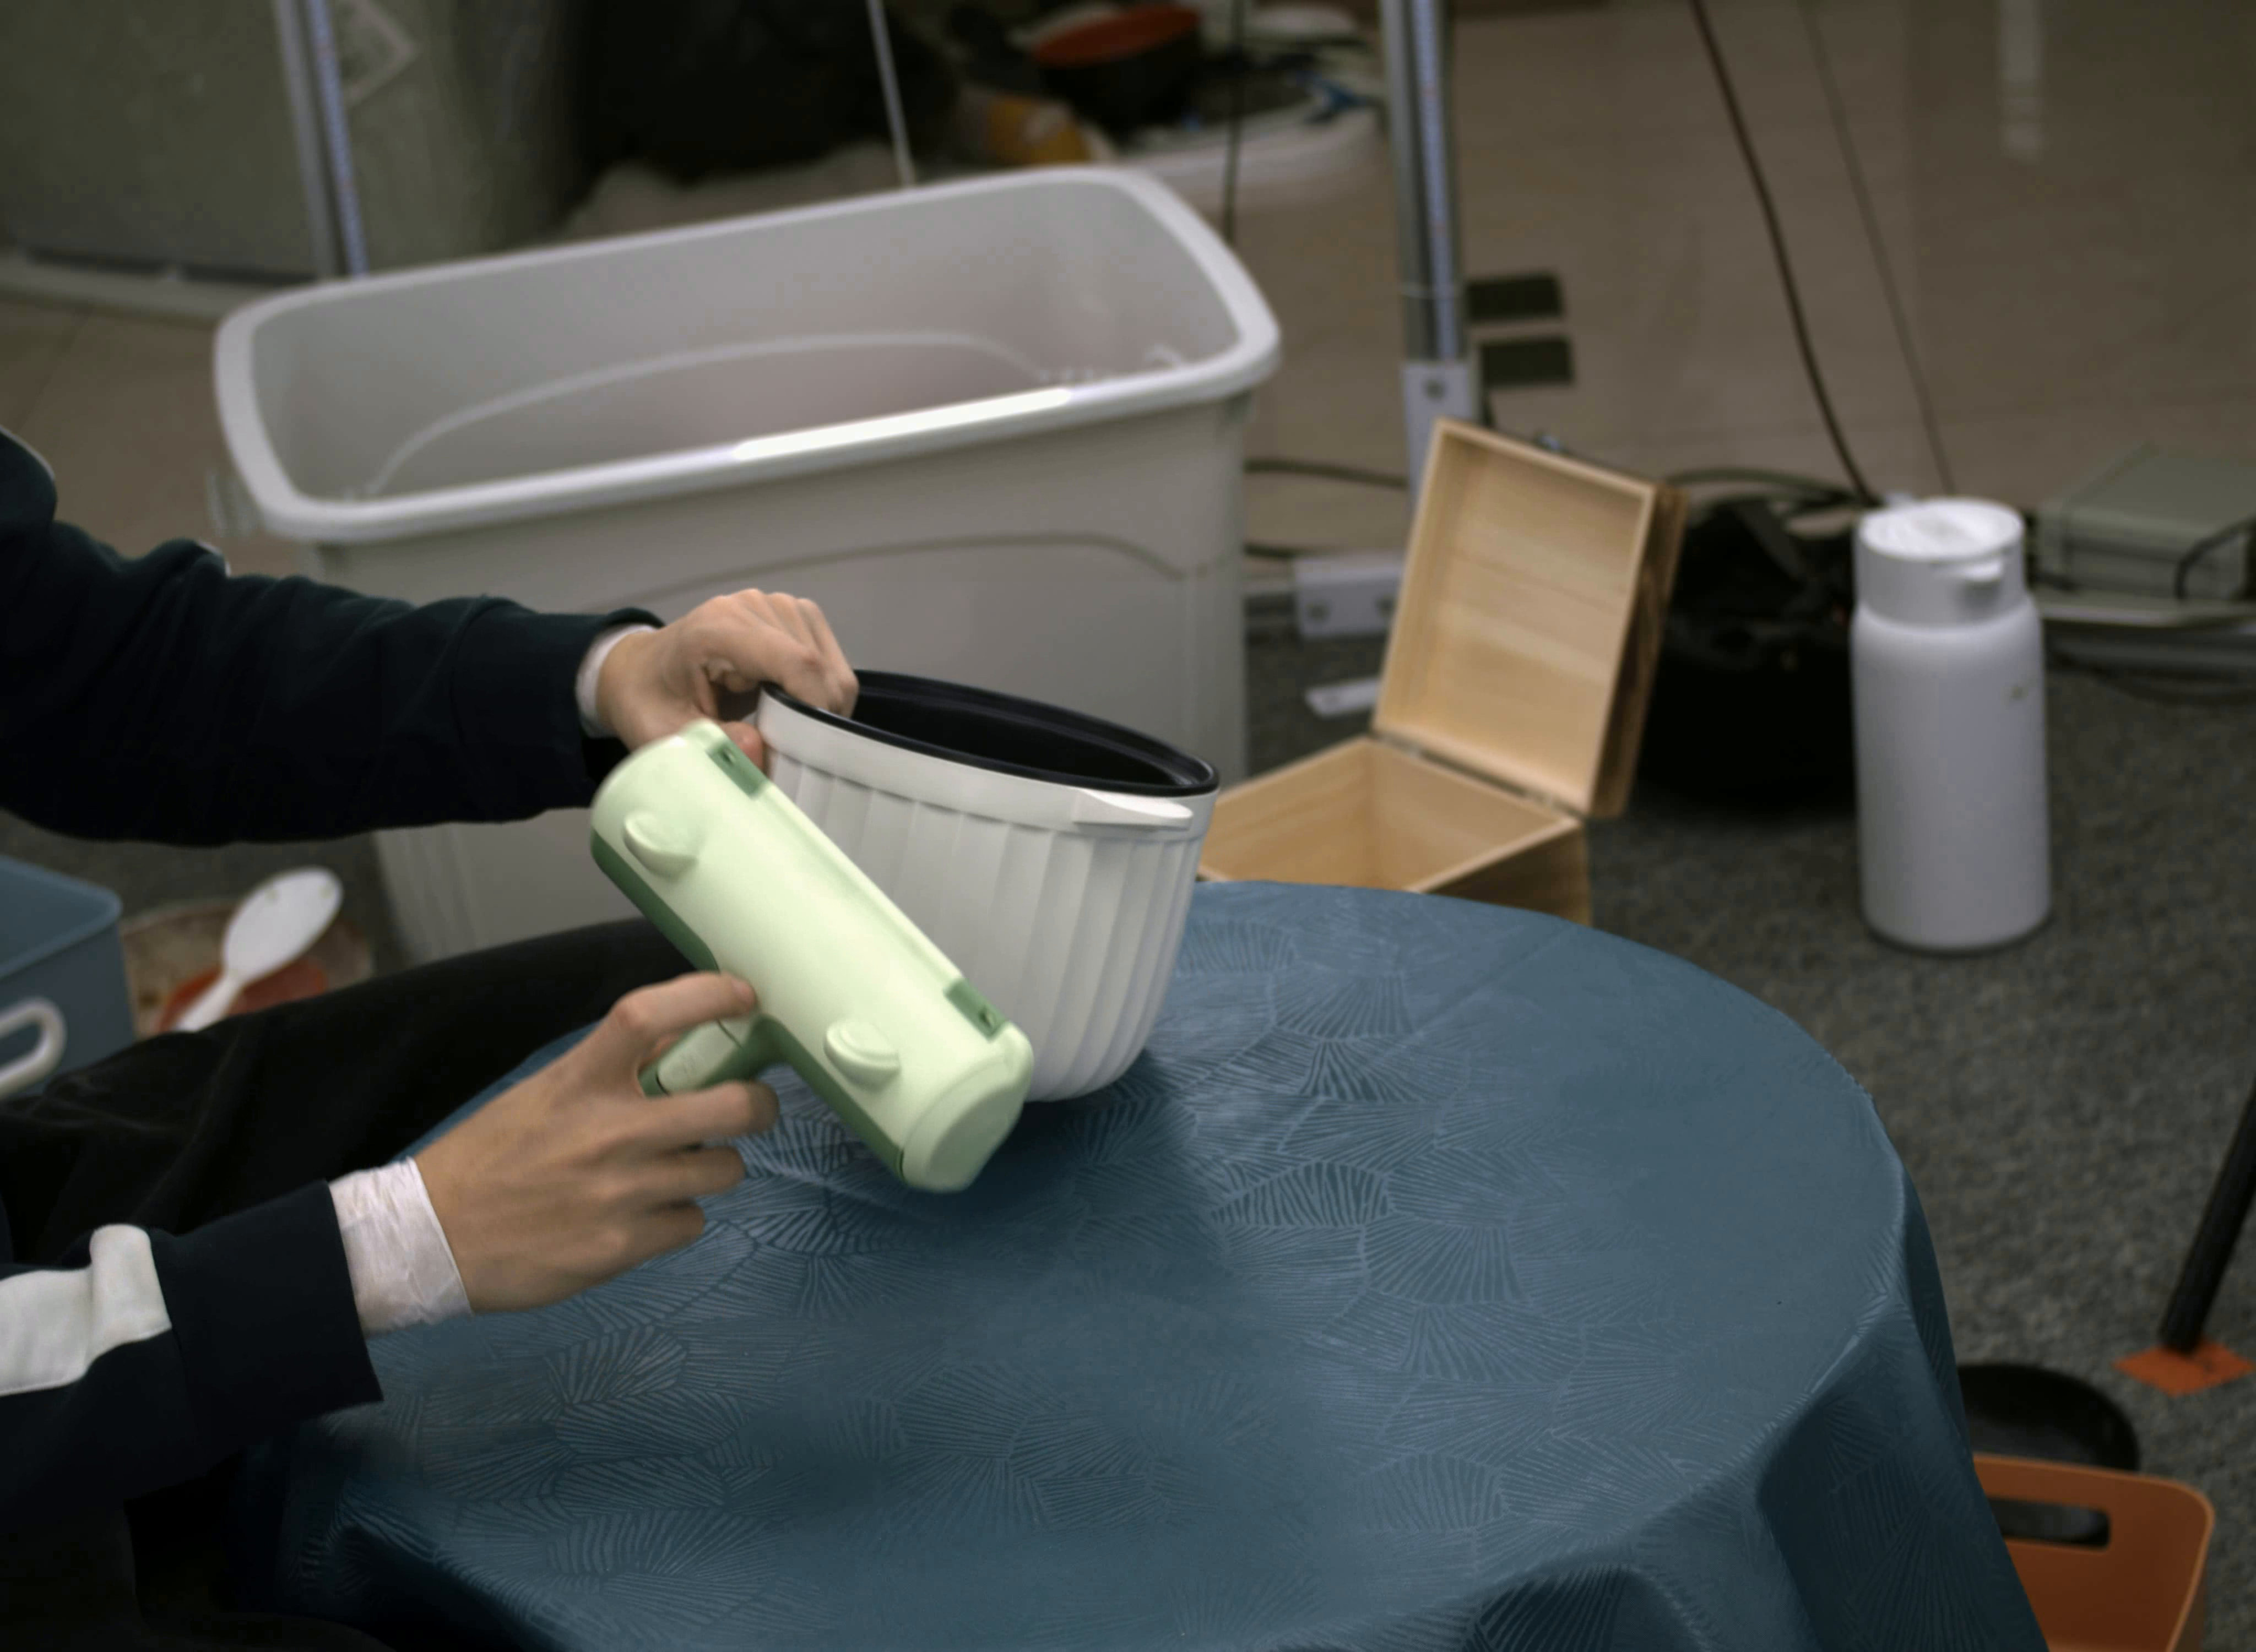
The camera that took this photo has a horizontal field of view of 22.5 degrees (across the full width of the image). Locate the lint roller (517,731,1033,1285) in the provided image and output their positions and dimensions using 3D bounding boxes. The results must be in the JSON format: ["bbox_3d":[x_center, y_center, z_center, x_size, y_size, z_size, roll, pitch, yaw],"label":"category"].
[{"bbox_3d":[-0.156,0.086,1.992,0.183,0.083,0.196,-44,64,-2],"label":"lint roller"}]

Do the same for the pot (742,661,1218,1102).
[{"bbox_3d":[-0.063,0.025,2.193,0.190,0.144,0.238,1,16,-38],"label":"pot"}]
